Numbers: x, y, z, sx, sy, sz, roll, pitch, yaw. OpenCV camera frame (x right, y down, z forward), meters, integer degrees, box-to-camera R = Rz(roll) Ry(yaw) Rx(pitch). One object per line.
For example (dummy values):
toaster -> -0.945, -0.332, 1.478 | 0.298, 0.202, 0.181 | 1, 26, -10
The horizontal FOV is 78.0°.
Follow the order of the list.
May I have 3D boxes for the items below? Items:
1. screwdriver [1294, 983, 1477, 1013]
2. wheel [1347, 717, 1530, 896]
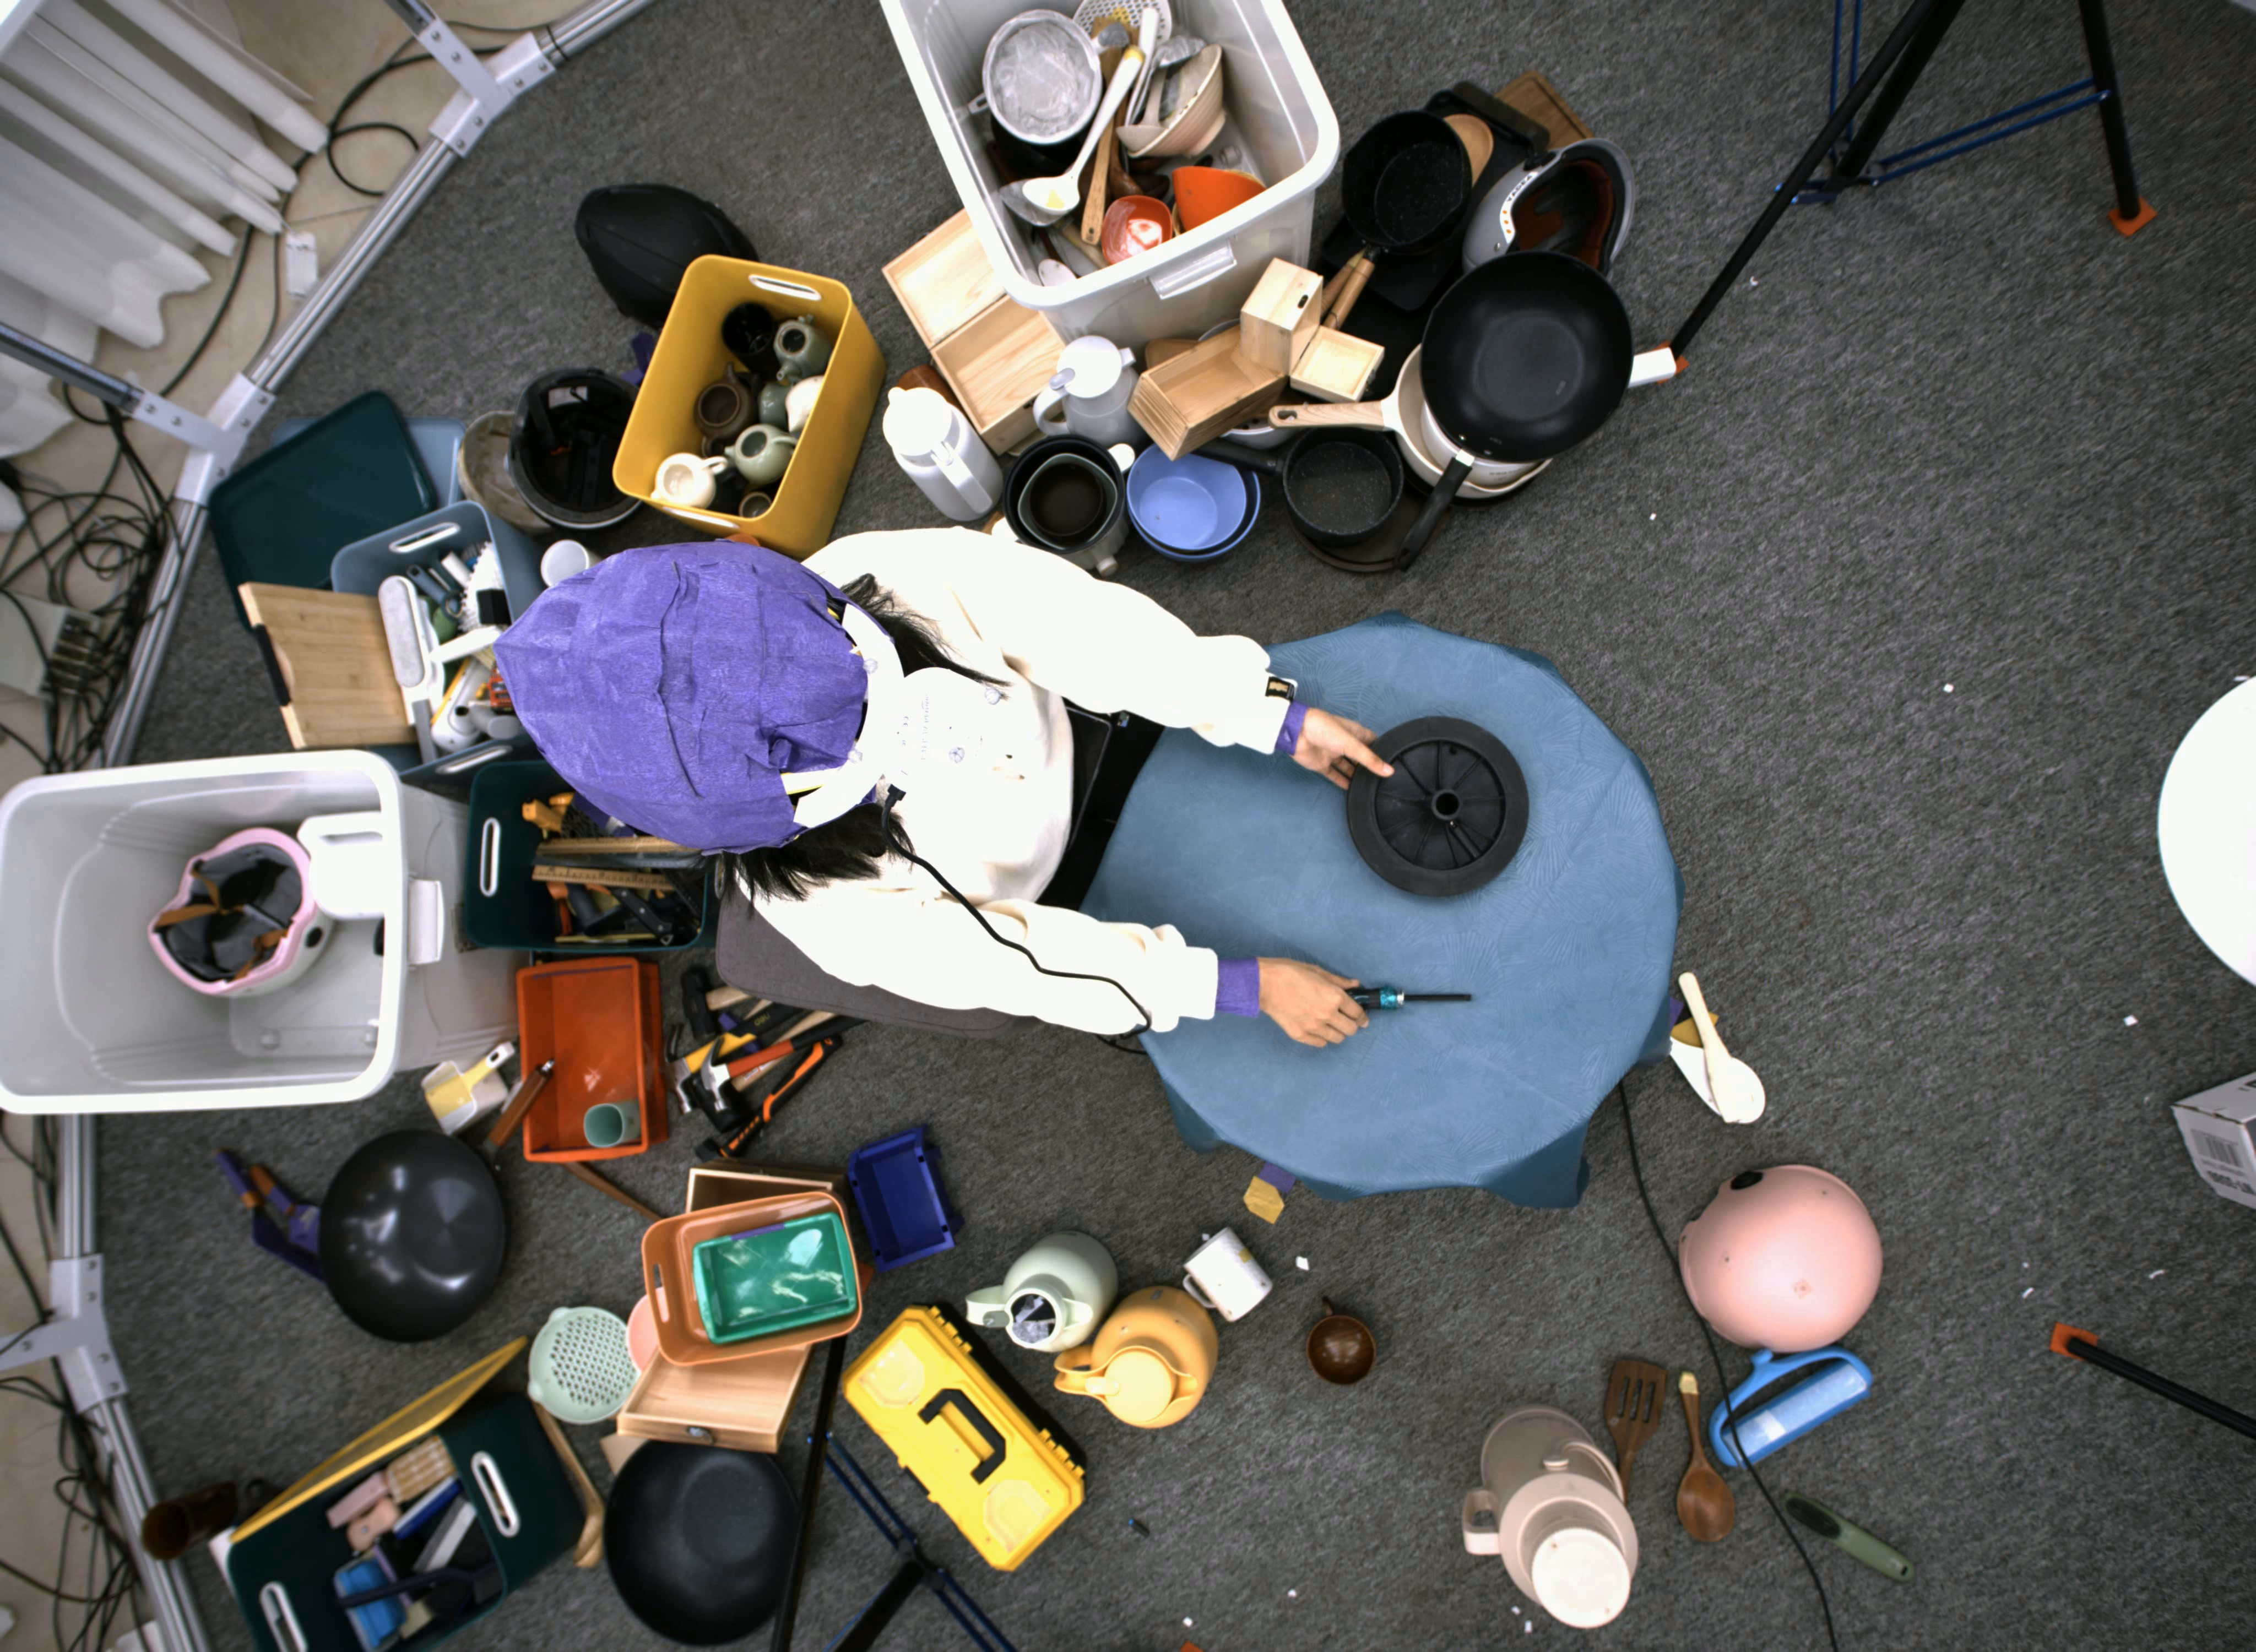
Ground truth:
screwdriver -> 0.268, 0.179, 1.442 | 0.190, 0.034, 0.033 | 0, 85, 3
wheel -> 0.323, -0.022, 1.412 | 0.190, 0.079, 0.188 | 29, 93, 1
